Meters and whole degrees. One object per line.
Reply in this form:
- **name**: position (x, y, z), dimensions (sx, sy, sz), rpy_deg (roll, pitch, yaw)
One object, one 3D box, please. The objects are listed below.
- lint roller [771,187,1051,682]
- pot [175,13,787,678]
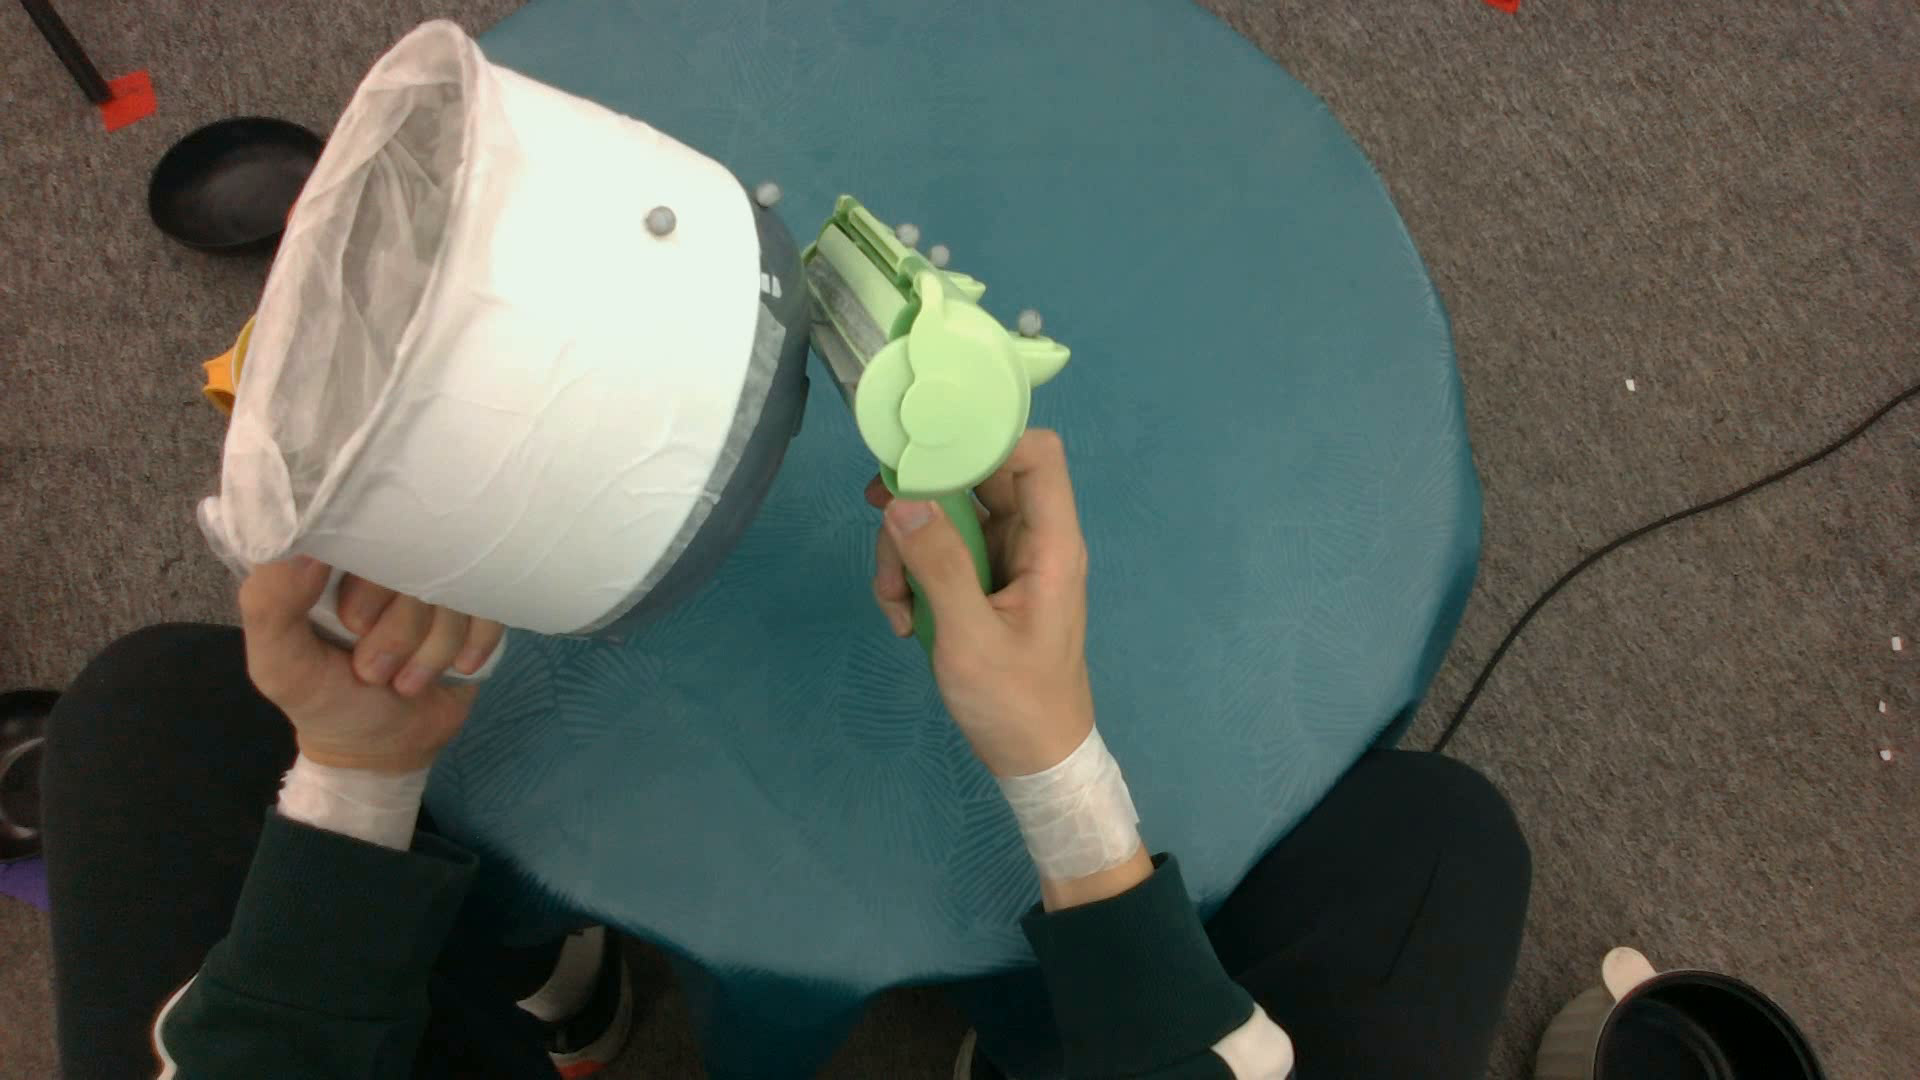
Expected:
- **lint roller**: position (-0.006, -0.035, 0.510), dimensions (0.082, 0.199, 0.183), rpy_deg (-27, 115, -5)
- **pot**: position (-0.171, -0.044, 0.478), dimensions (0.137, 0.233, 0.179), rpy_deg (20, 29, -40)
